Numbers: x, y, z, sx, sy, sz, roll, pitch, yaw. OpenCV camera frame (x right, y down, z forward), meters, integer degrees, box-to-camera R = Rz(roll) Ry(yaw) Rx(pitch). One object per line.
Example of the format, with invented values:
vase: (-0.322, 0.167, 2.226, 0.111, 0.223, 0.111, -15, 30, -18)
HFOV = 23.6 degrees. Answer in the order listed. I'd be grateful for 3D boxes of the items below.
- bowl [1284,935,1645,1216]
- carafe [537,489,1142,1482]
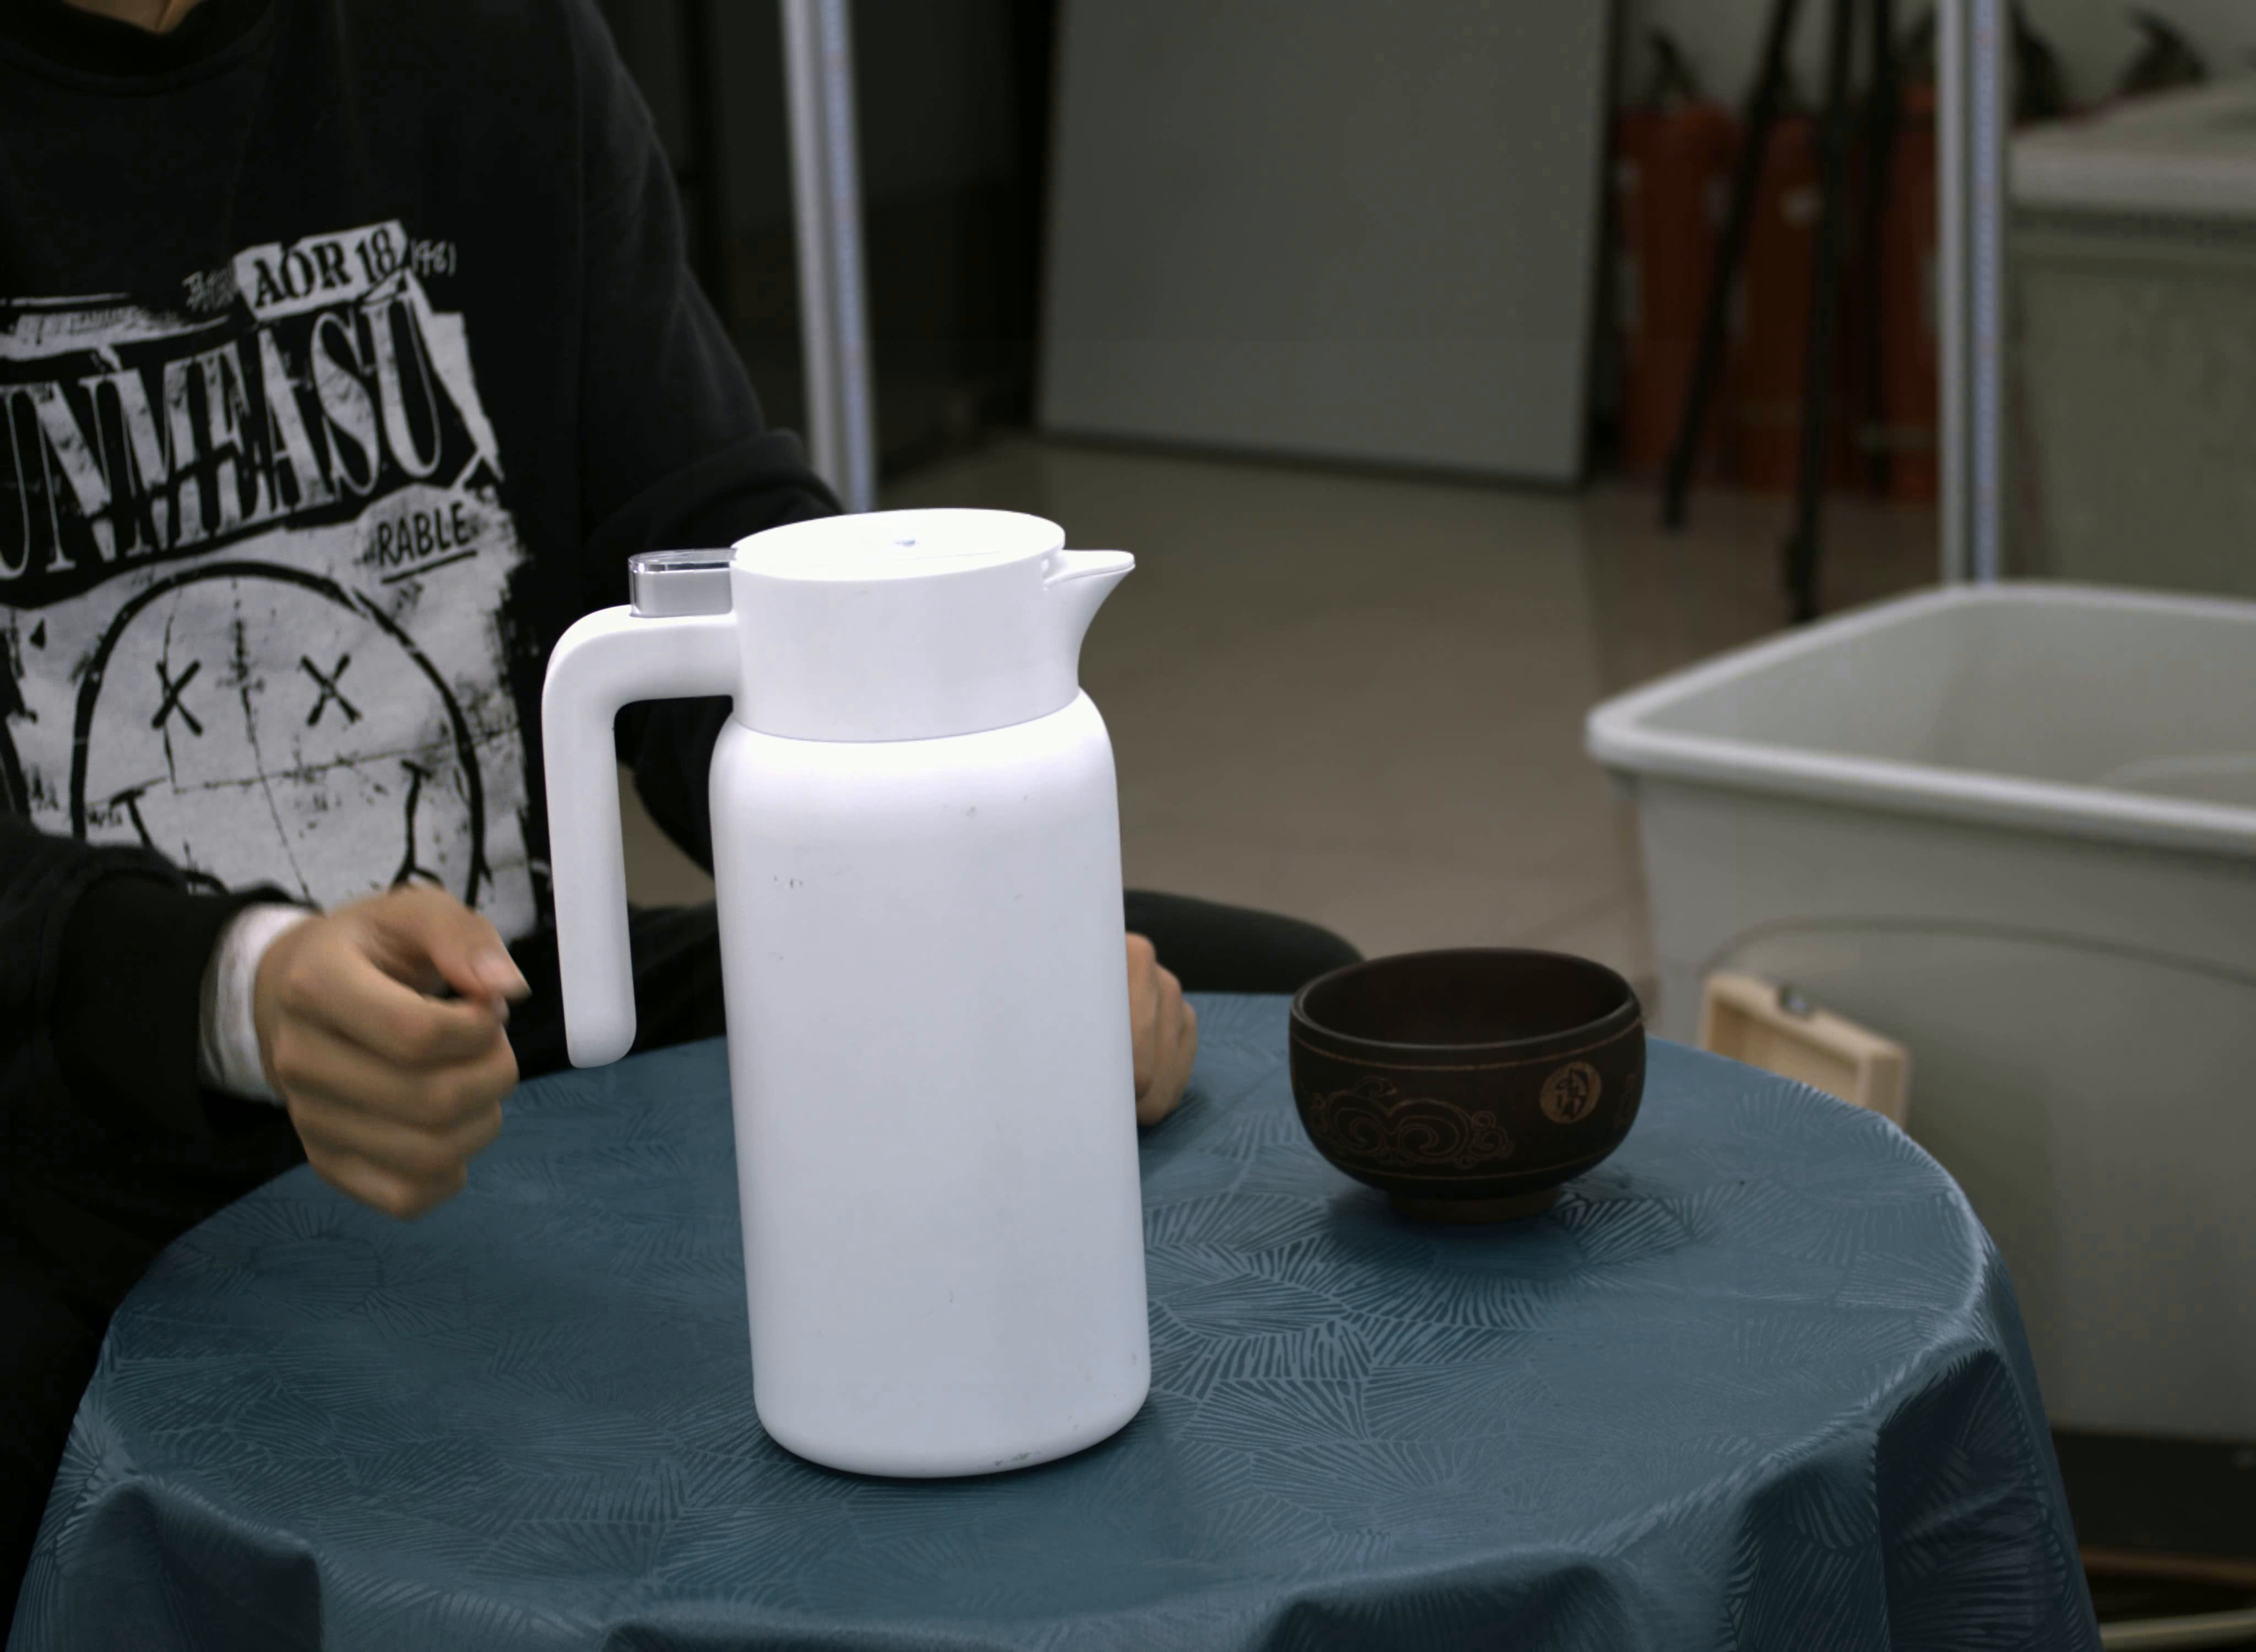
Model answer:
bowl: (0.109, 0.084, 1.735, 0.116, 0.070, 0.118, -5, 14, 0)
carafe: (-0.077, 0.046, 1.543, 0.170, 0.272, 0.124, -4, 15, -3)
